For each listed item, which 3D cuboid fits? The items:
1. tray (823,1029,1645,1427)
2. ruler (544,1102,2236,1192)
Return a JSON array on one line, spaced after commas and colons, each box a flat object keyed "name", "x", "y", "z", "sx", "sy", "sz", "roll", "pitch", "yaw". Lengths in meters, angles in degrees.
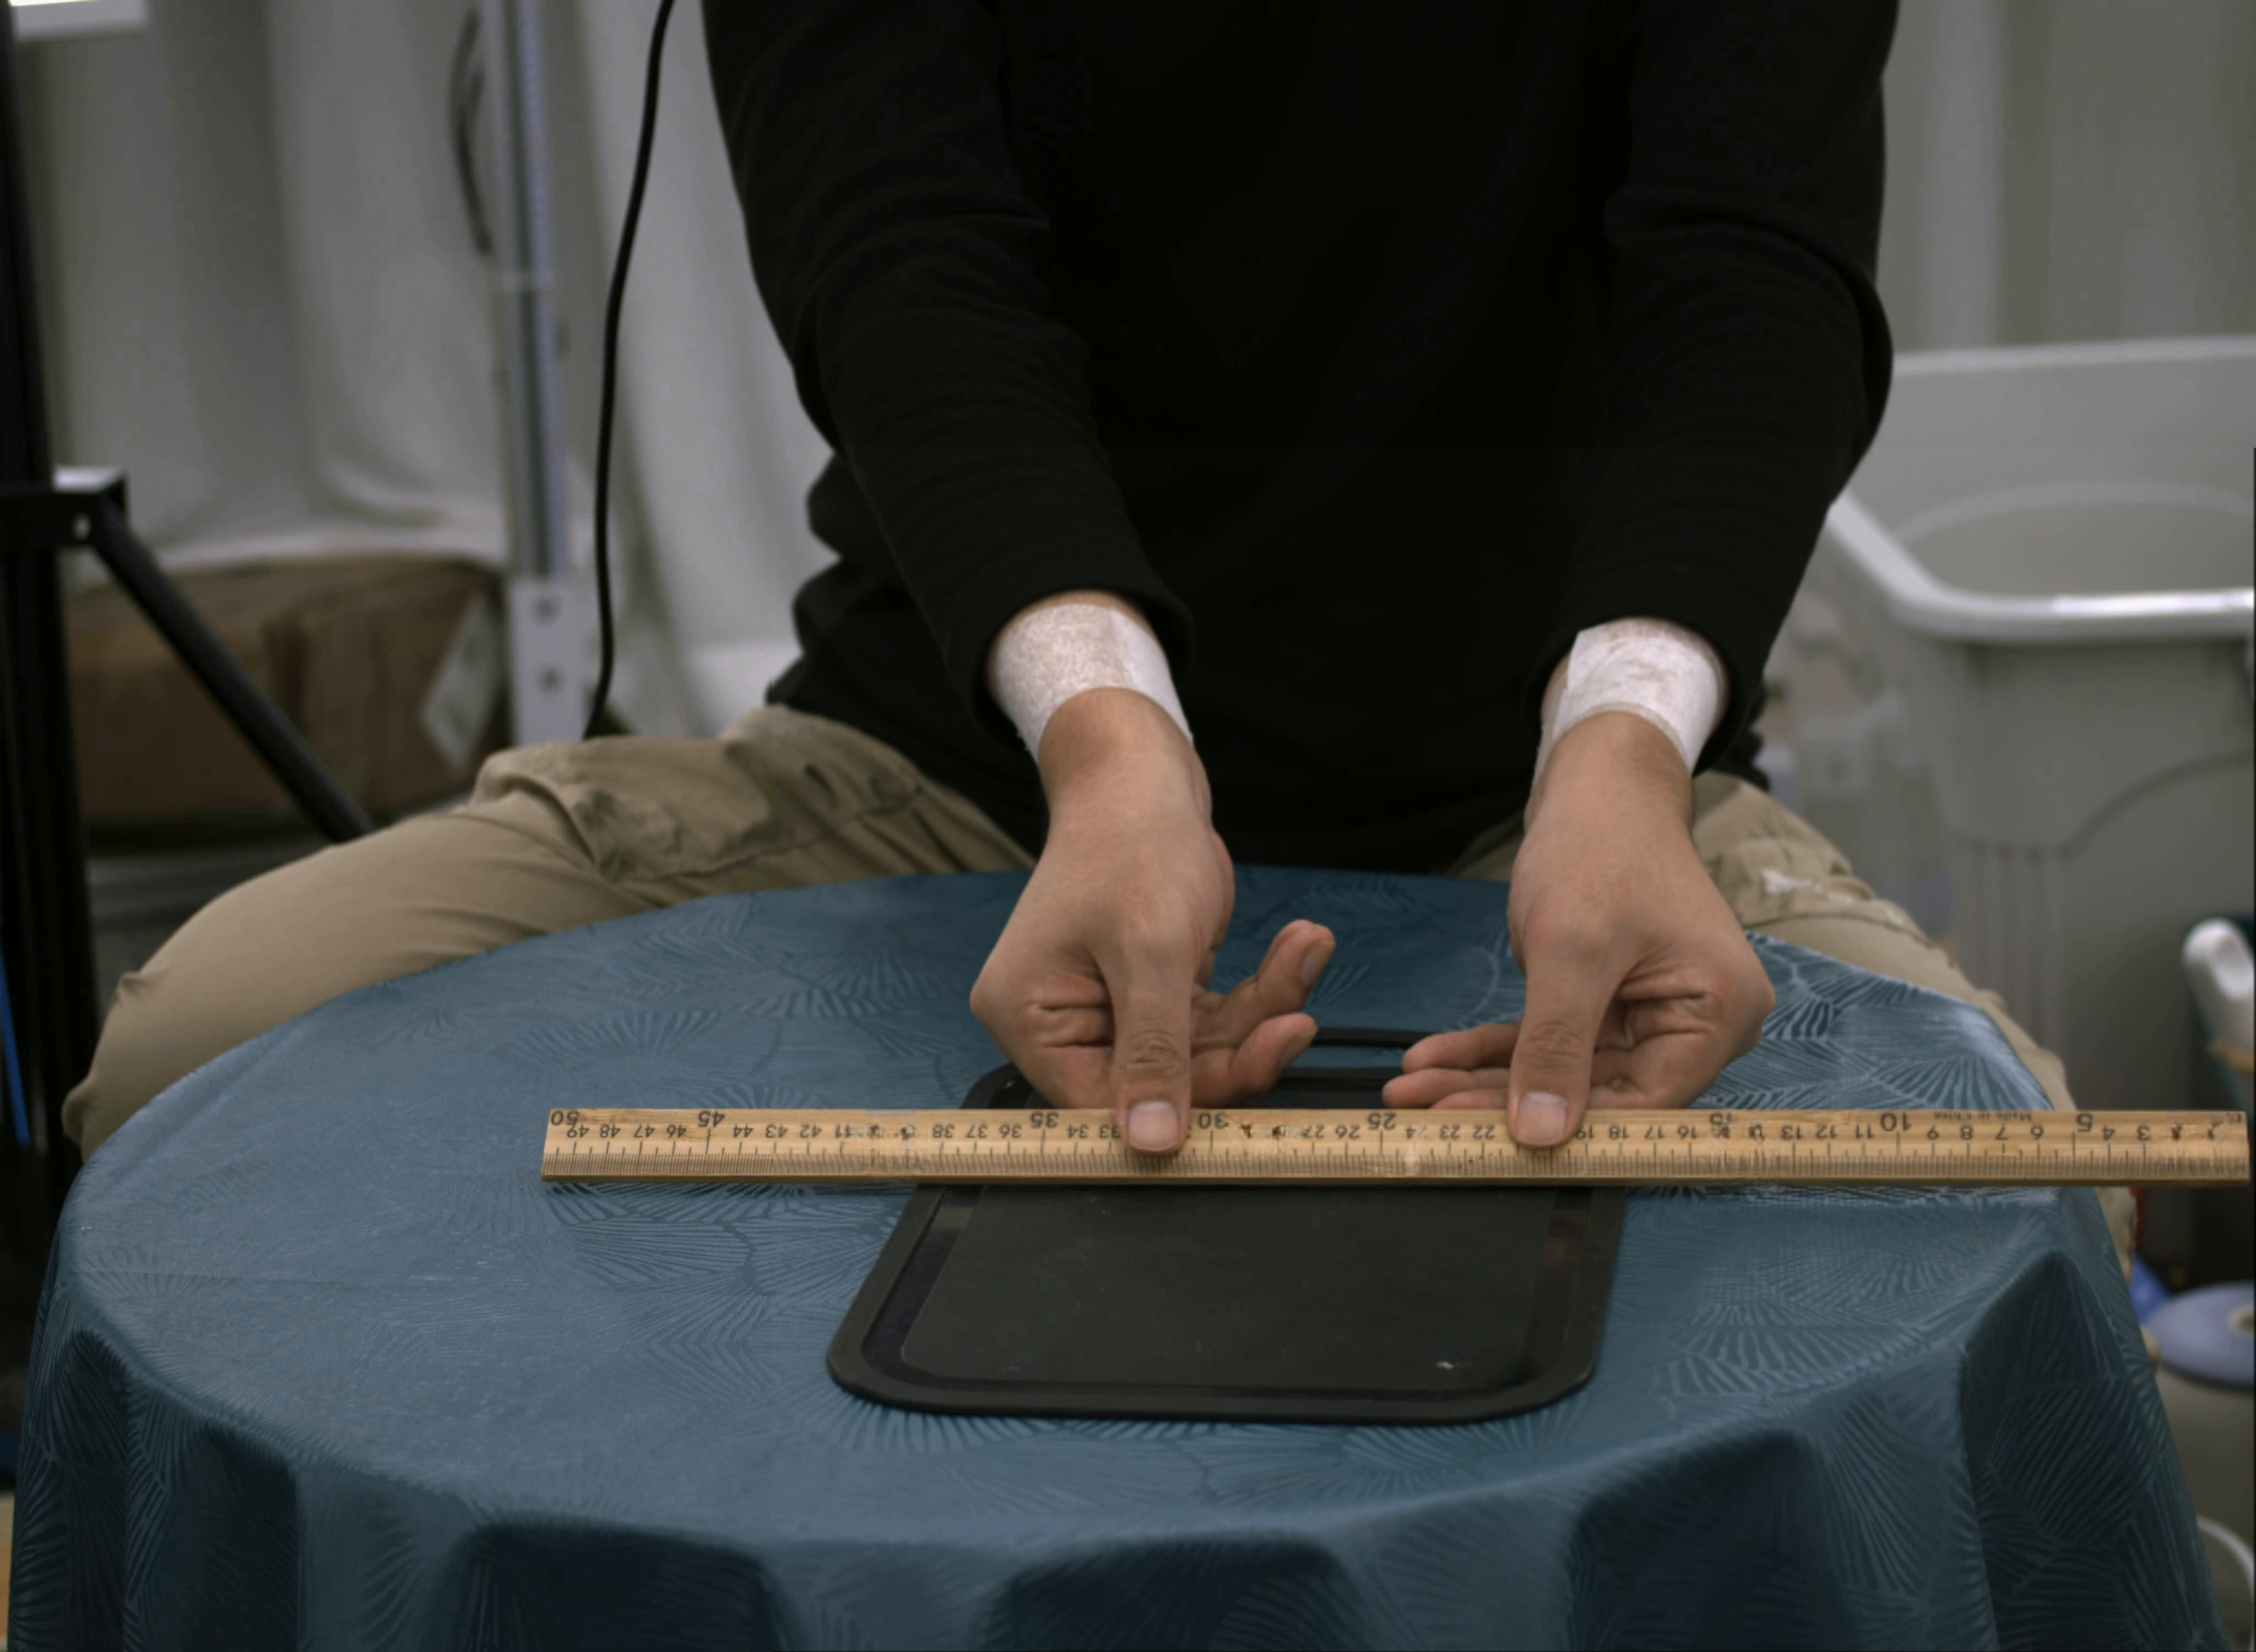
[{"name": "tray", "x": 0.039, "y": 0.109, "z": 1.535, "sx": 0.212, "sy": 0.010, "sz": 0.324, "roll": 0, "pitch": 16, "yaw": 10}, {"name": "ruler", "x": 0.074, "y": 0.094, "z": 1.549, "sx": 0.502, "sy": 0.006, "sz": 0.027, "roll": 0, "pitch": 49, "yaw": 10}]
